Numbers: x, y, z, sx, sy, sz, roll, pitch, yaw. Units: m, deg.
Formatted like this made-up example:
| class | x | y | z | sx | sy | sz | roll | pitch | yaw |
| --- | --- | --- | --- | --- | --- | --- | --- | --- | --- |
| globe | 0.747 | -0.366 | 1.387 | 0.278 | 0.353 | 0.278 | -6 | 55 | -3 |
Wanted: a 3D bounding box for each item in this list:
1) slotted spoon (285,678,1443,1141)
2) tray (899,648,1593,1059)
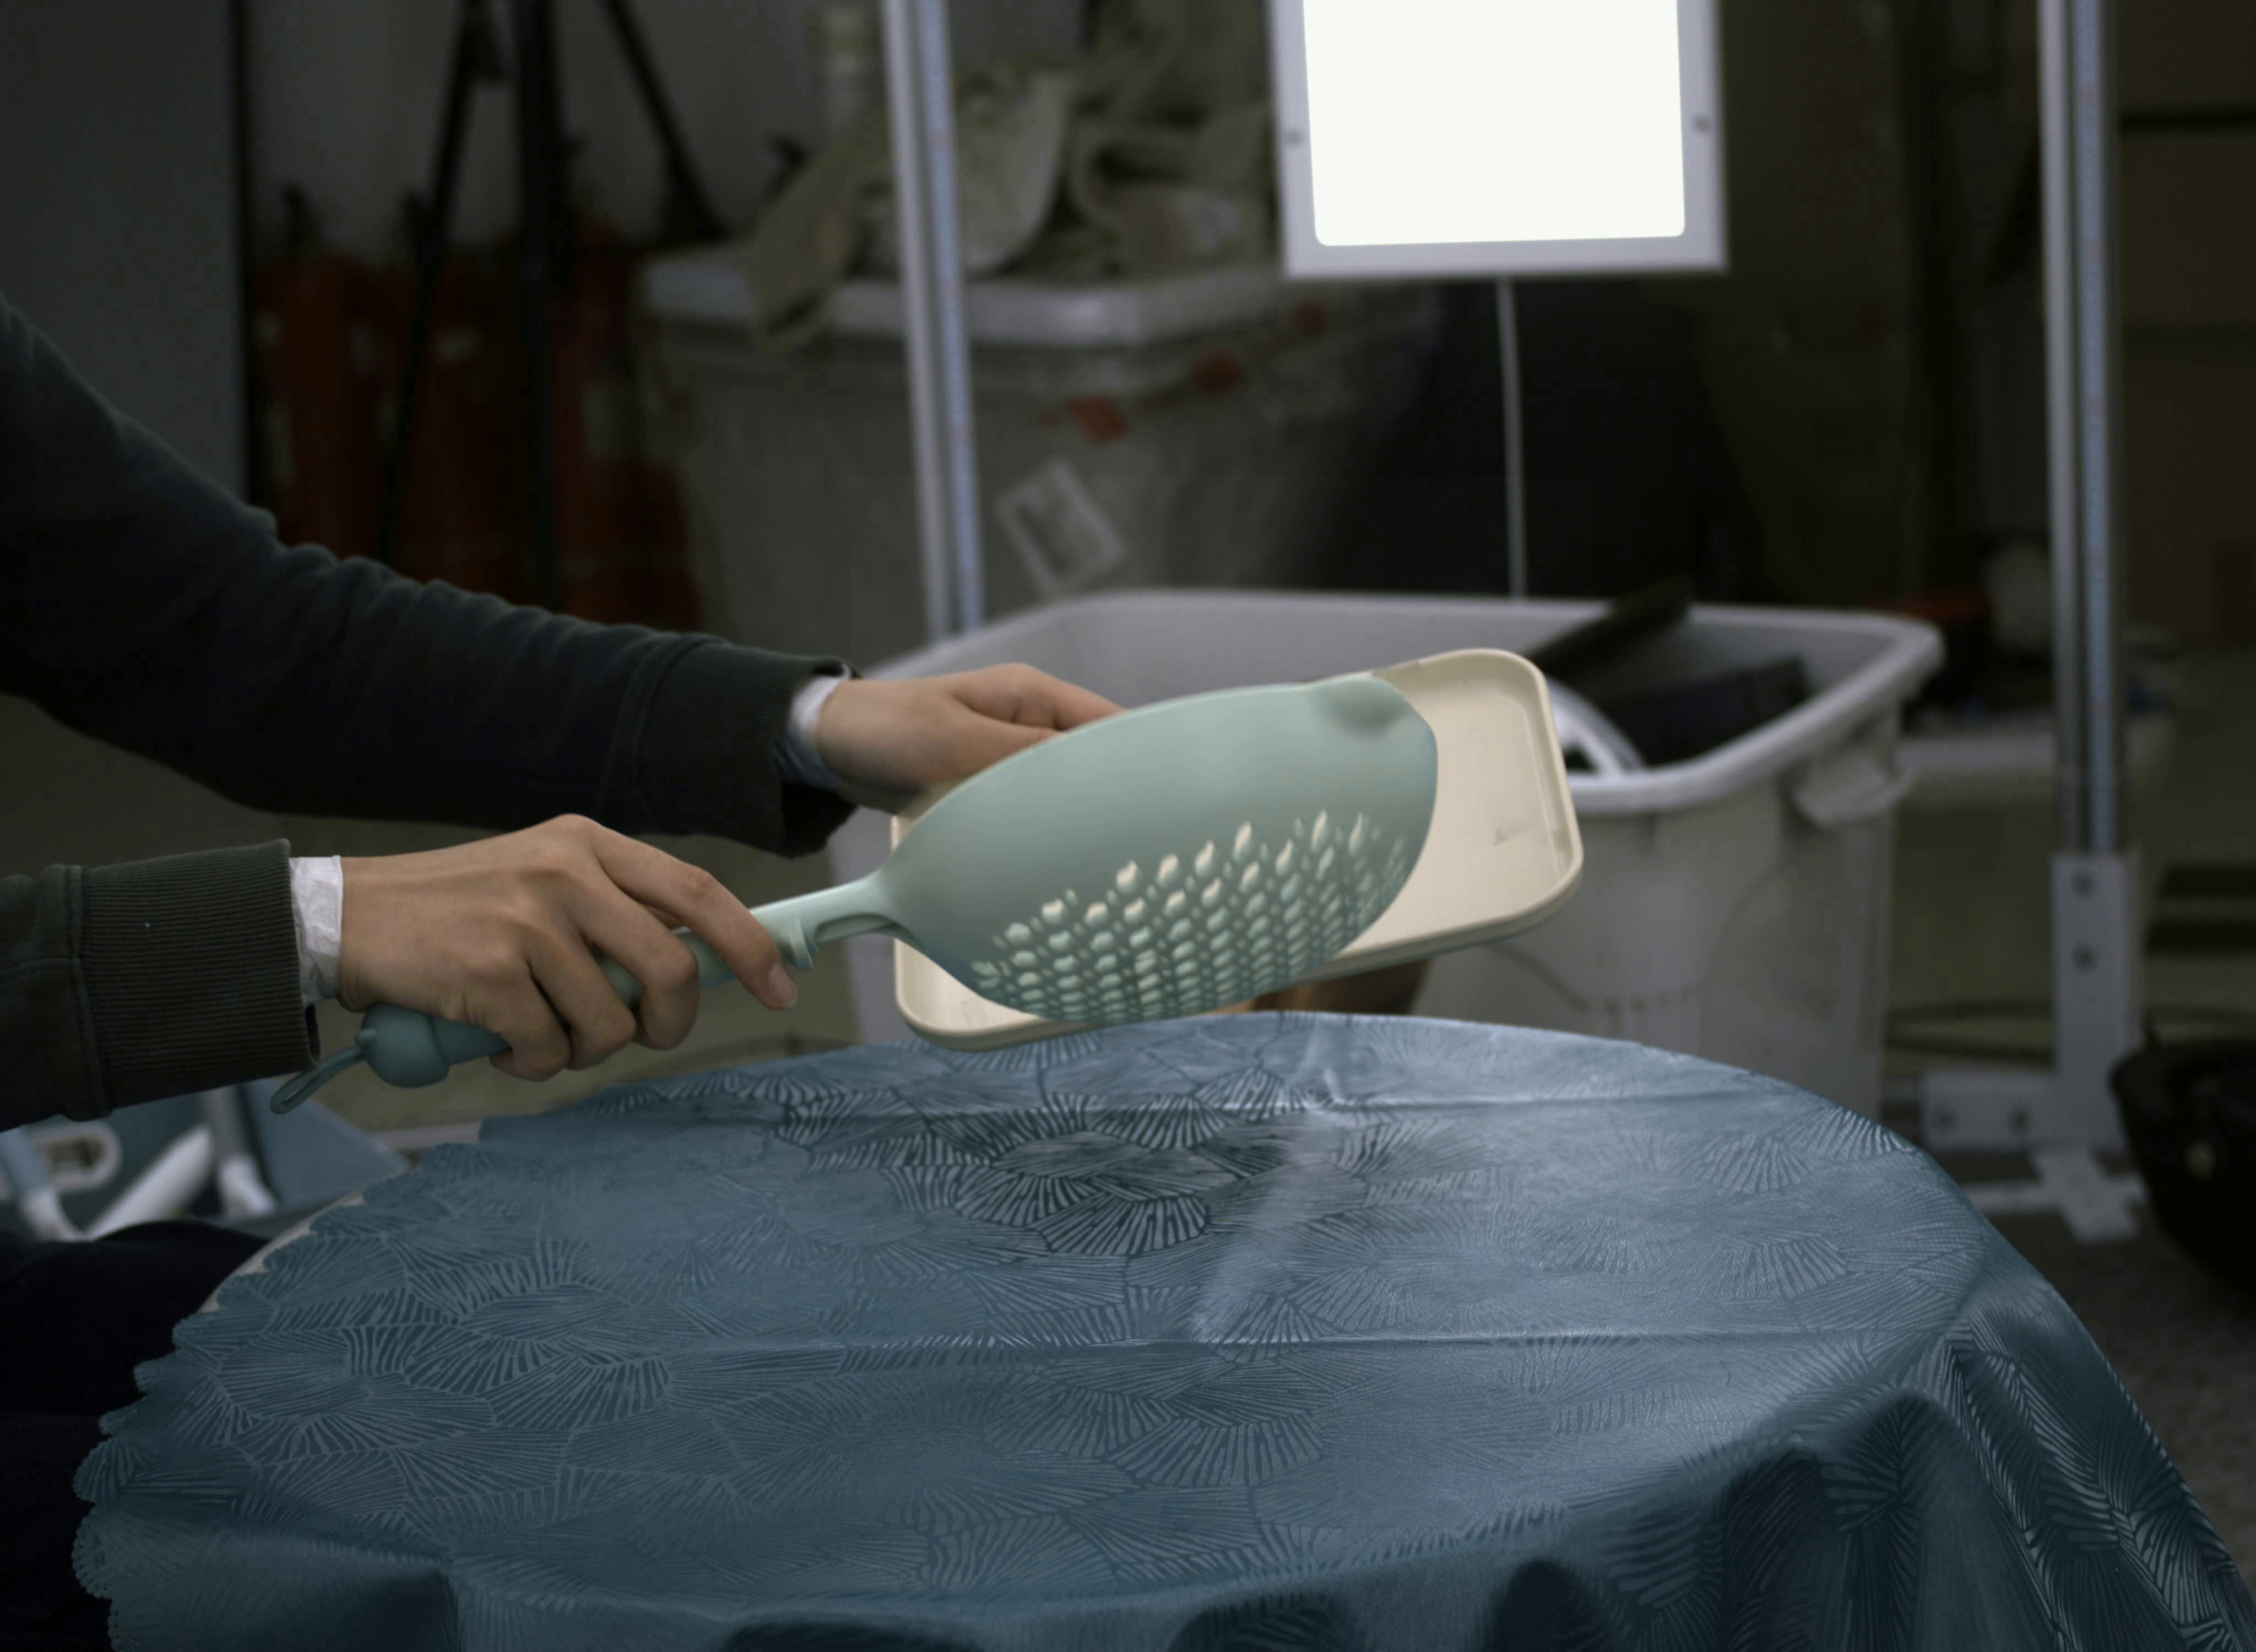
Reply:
| class | x | y | z | sx | sy | sz | roll | pitch | yaw |
| --- | --- | --- | --- | --- | --- | --- | --- | --- | --- |
| slotted spoon | -0.078 | 0.034 | 1.648 | 0.358 | 0.075 | 0.169 | -8 | -22 | 2 |
| tray | 0.039 | 0.010 | 1.901 | 0.240 | 0.017 | 0.171 | -14 | 32 | 7 |
